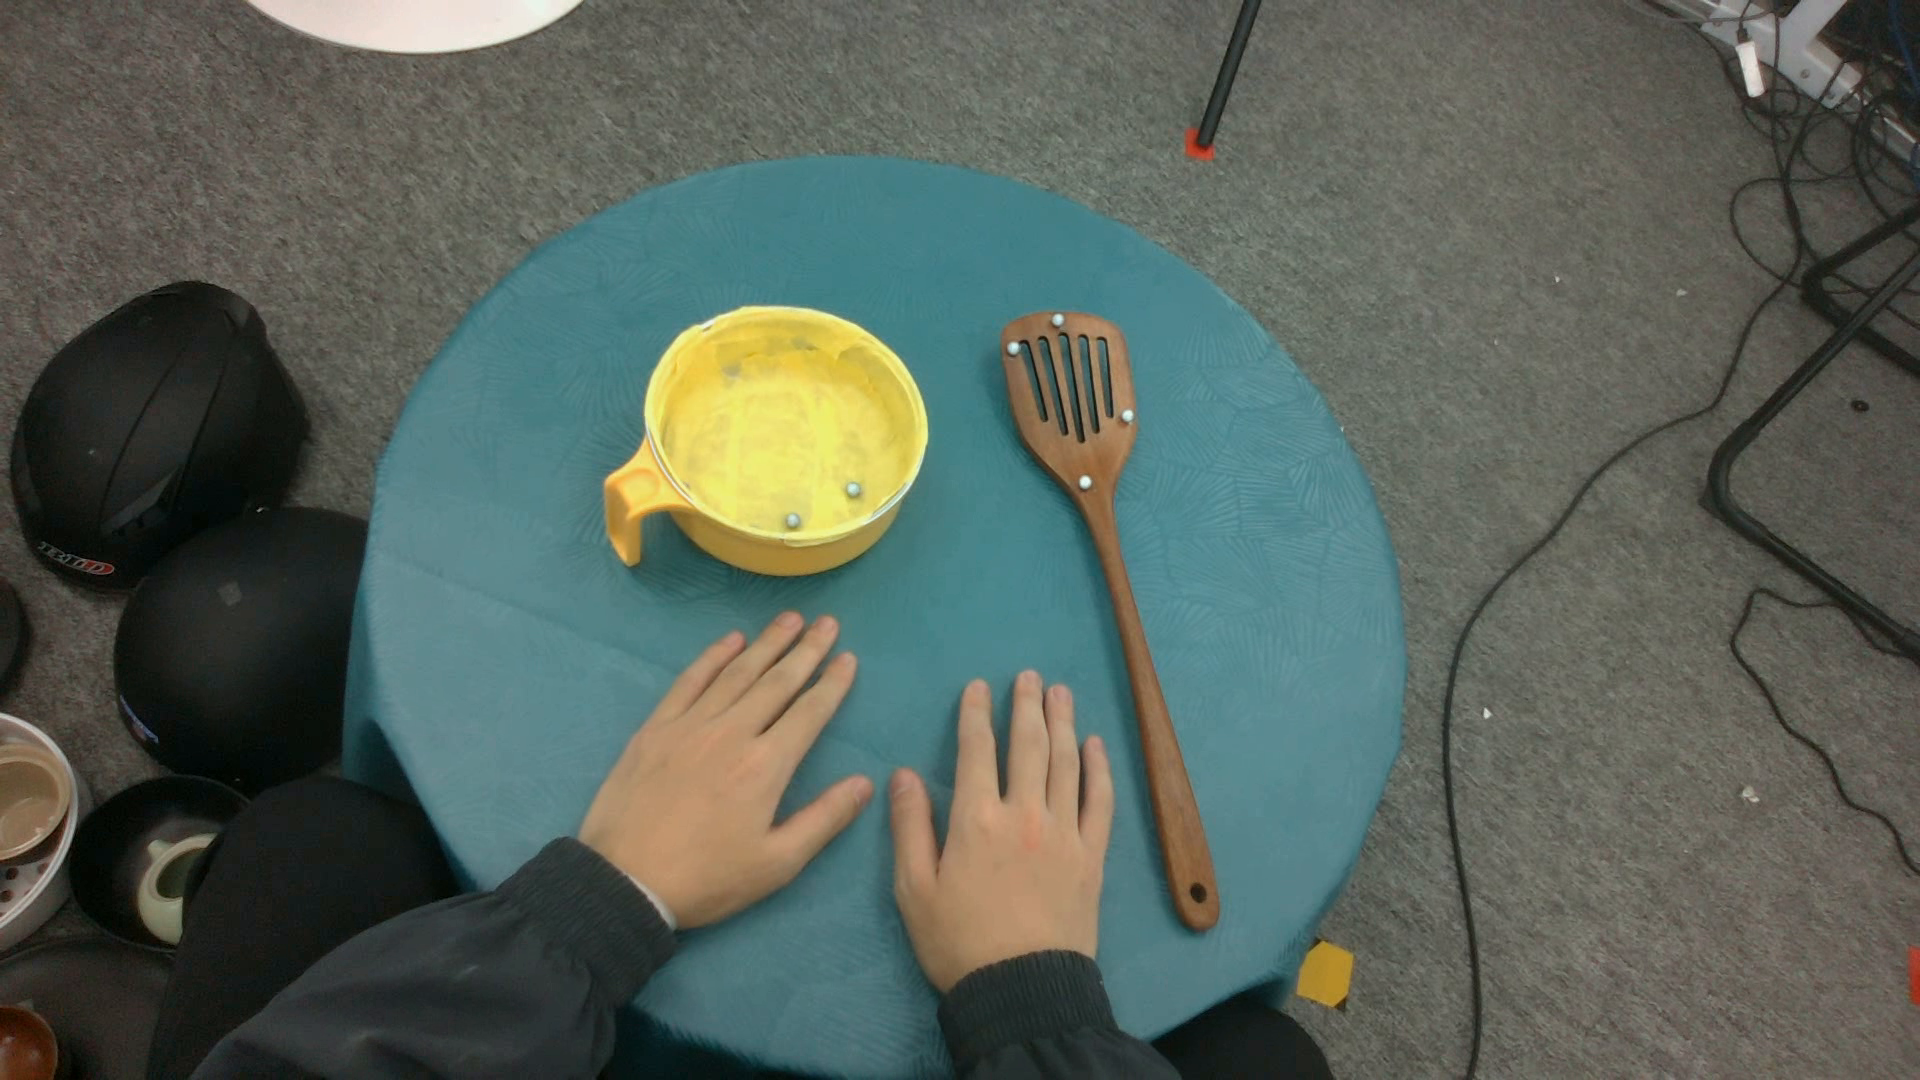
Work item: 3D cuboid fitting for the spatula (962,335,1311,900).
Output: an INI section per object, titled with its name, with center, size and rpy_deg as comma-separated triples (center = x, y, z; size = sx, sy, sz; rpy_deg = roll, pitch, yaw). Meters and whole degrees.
[spatula]
center = 0.107, 0.033, 0.815
size = 0.085, 0.024, 0.387
rpy_deg = -19, 62, -11

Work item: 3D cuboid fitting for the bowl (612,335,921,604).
[bowl]
center = -0.112, -0.033, 0.782
size = 0.180, 0.074, 0.153
rpy_deg = -36, 71, -26
